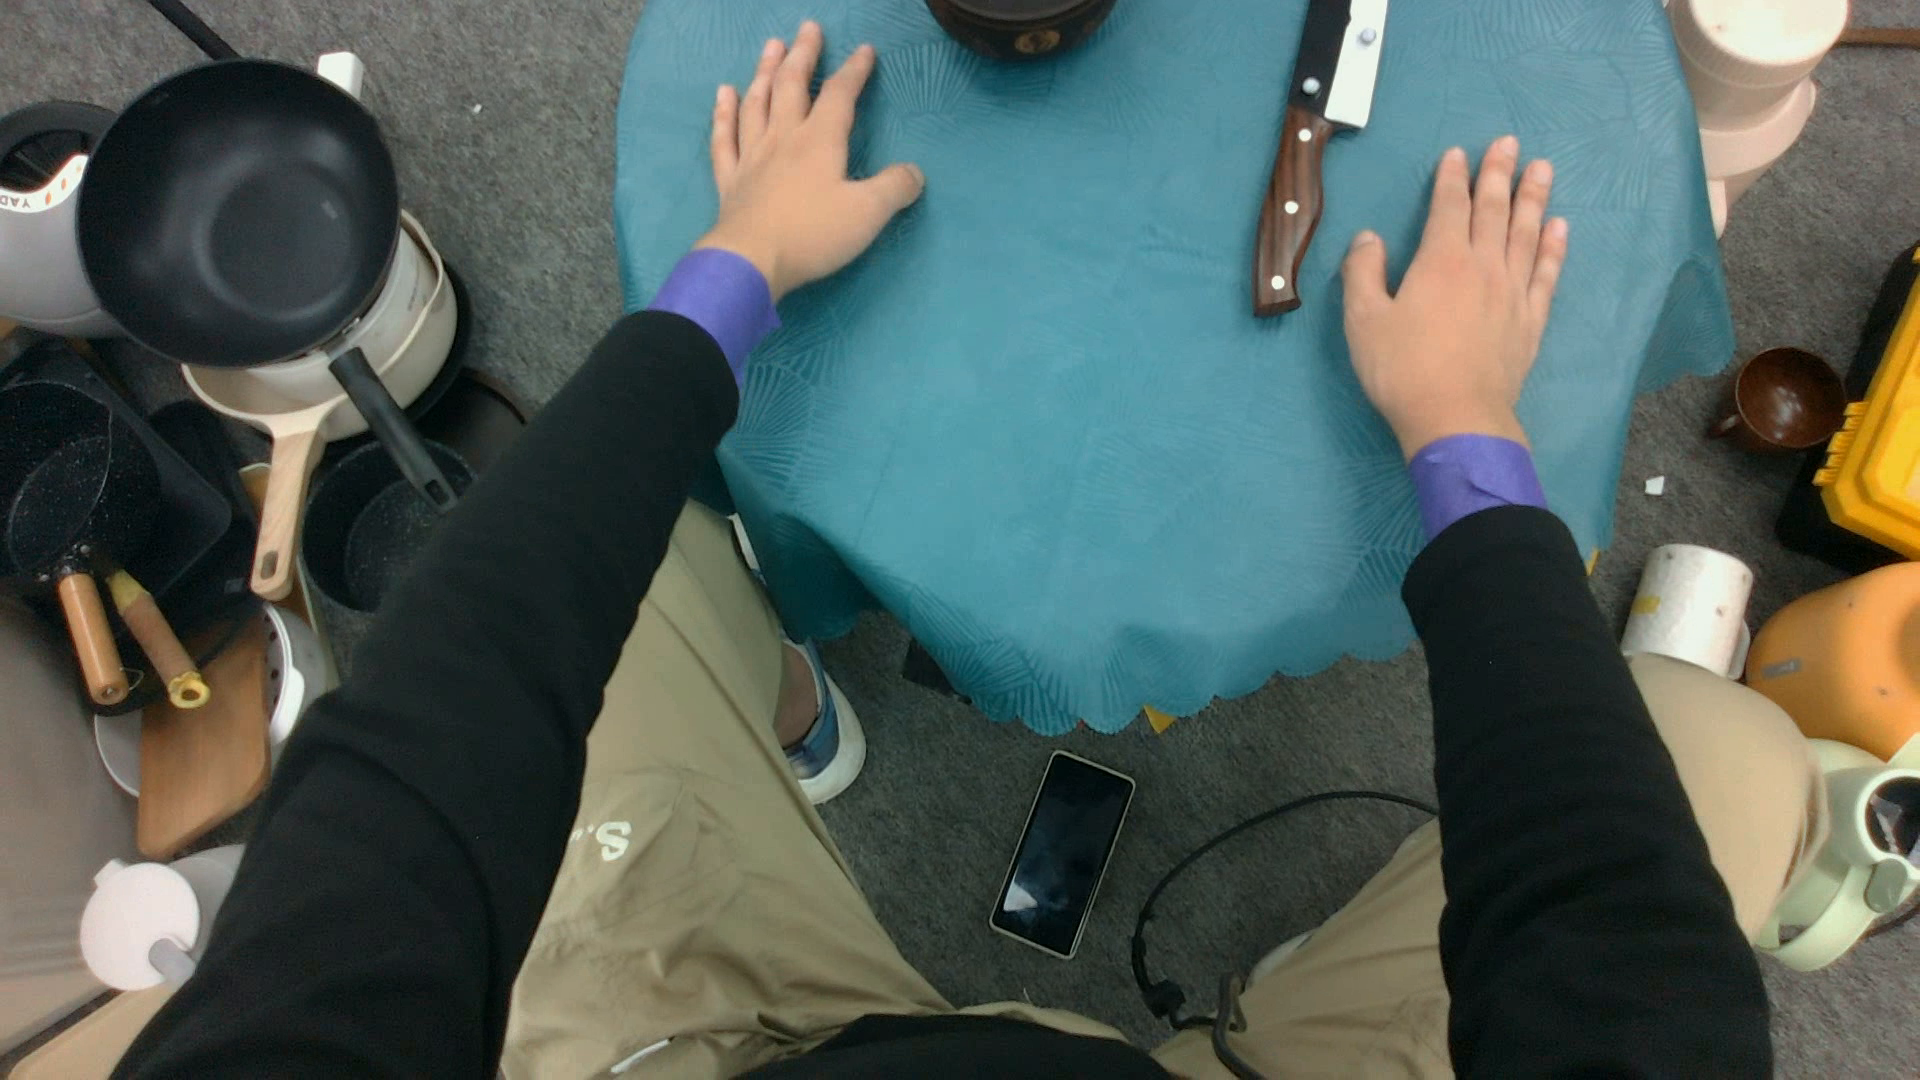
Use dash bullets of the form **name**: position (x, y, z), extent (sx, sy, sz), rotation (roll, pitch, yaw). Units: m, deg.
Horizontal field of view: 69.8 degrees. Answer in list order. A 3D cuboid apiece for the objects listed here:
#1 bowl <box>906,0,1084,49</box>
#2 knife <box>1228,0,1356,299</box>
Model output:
- **bowl**: position (0.020, -0.325, 0.762), extent (0.118, 0.070, 0.118), rotation (0, 77, 2)
- **knife**: position (0.190, -0.262, 0.766), extent (0.050, 0.020, 0.290), rotation (16, 75, 2)
